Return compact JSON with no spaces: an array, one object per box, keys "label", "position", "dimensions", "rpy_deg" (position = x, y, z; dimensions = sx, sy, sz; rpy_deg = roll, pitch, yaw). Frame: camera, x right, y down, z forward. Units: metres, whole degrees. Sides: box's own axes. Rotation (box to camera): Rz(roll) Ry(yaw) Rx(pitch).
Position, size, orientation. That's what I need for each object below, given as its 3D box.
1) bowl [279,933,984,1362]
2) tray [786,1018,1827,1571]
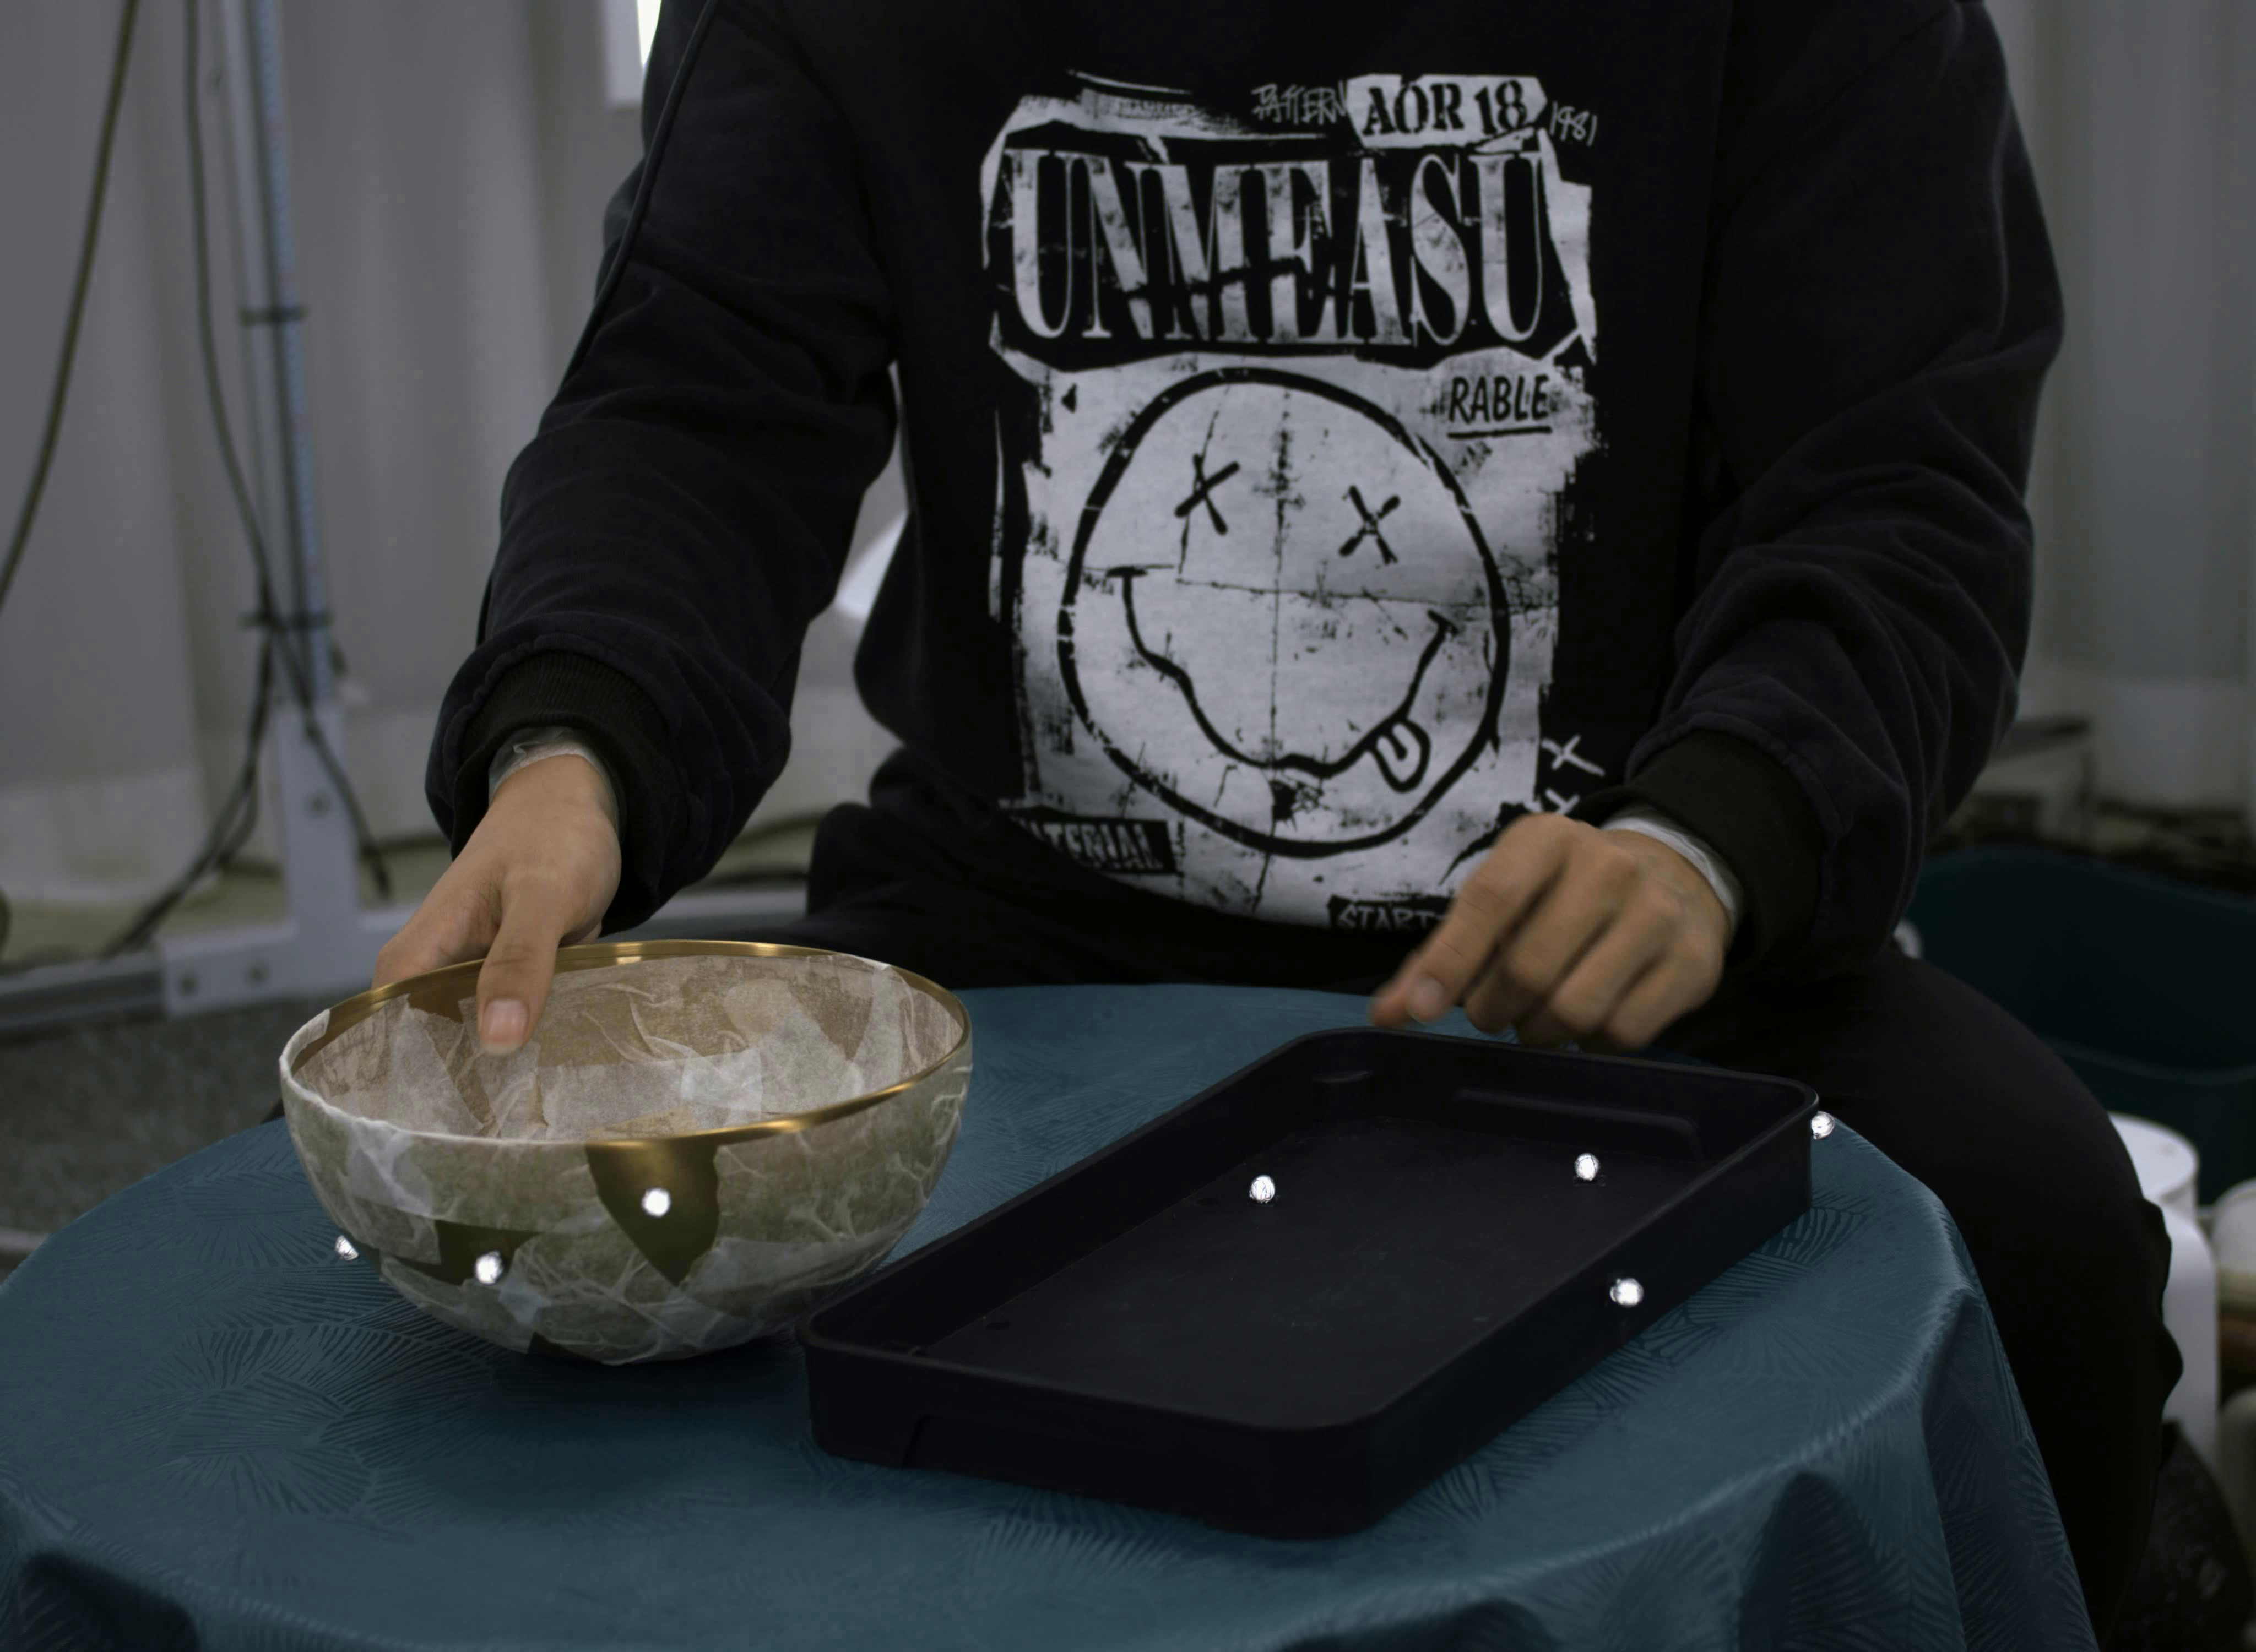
[{"label":"bowl","position":[-0.140,0.103,1.606],"dimensions":[0.214,0.094,0.216],"rpy_deg":[-3,14,0]},{"label":"tray","position":[0.059,0.129,1.592],"dimensions":[0.185,0.037,0.318],"rpy_deg":[8,20,32]}]
